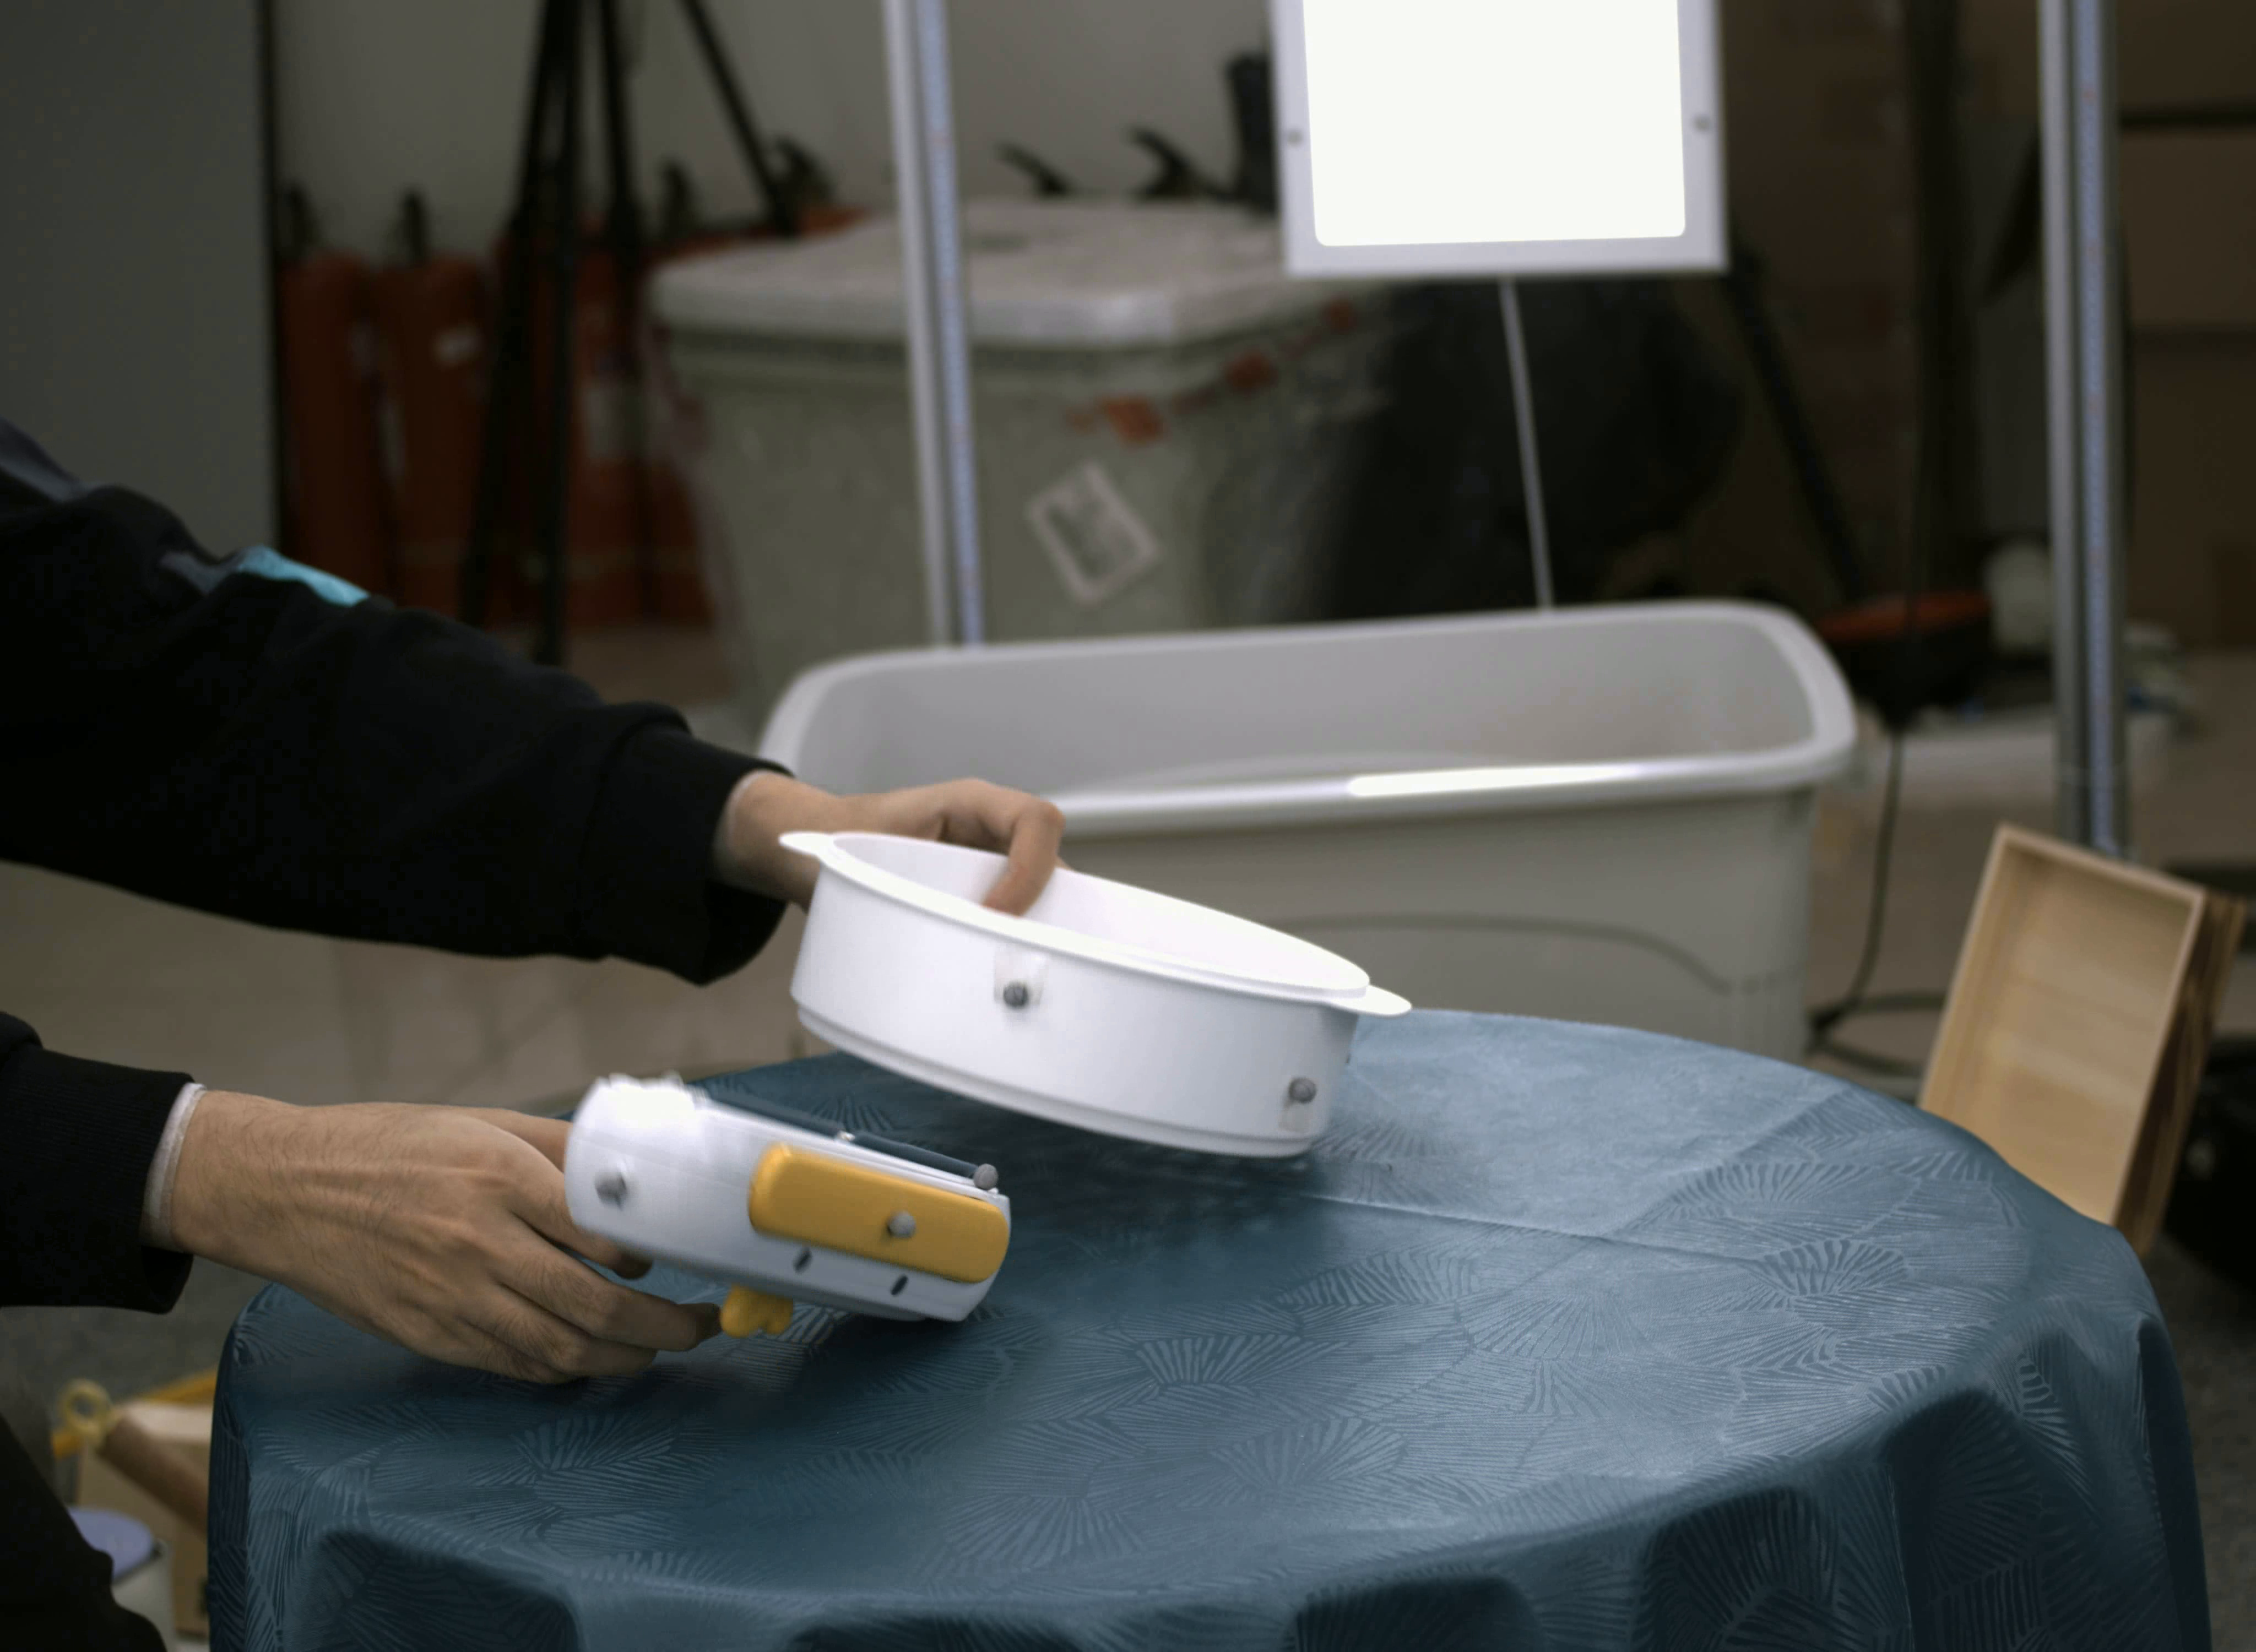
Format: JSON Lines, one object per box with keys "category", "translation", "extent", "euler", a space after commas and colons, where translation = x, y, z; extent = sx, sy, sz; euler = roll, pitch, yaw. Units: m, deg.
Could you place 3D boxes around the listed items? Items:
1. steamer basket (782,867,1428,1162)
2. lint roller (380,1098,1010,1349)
{"category": "steamer basket", "translation": [-0.014, 0.066, 1.909], "extent": [0.233, 0.069, 0.199], "euler": [12, 4, 15]}
{"category": "lint roller", "translation": [-0.156, 0.124, 1.749], "extent": [0.196, 0.074, 0.188], "euler": [4, -3, 35]}
